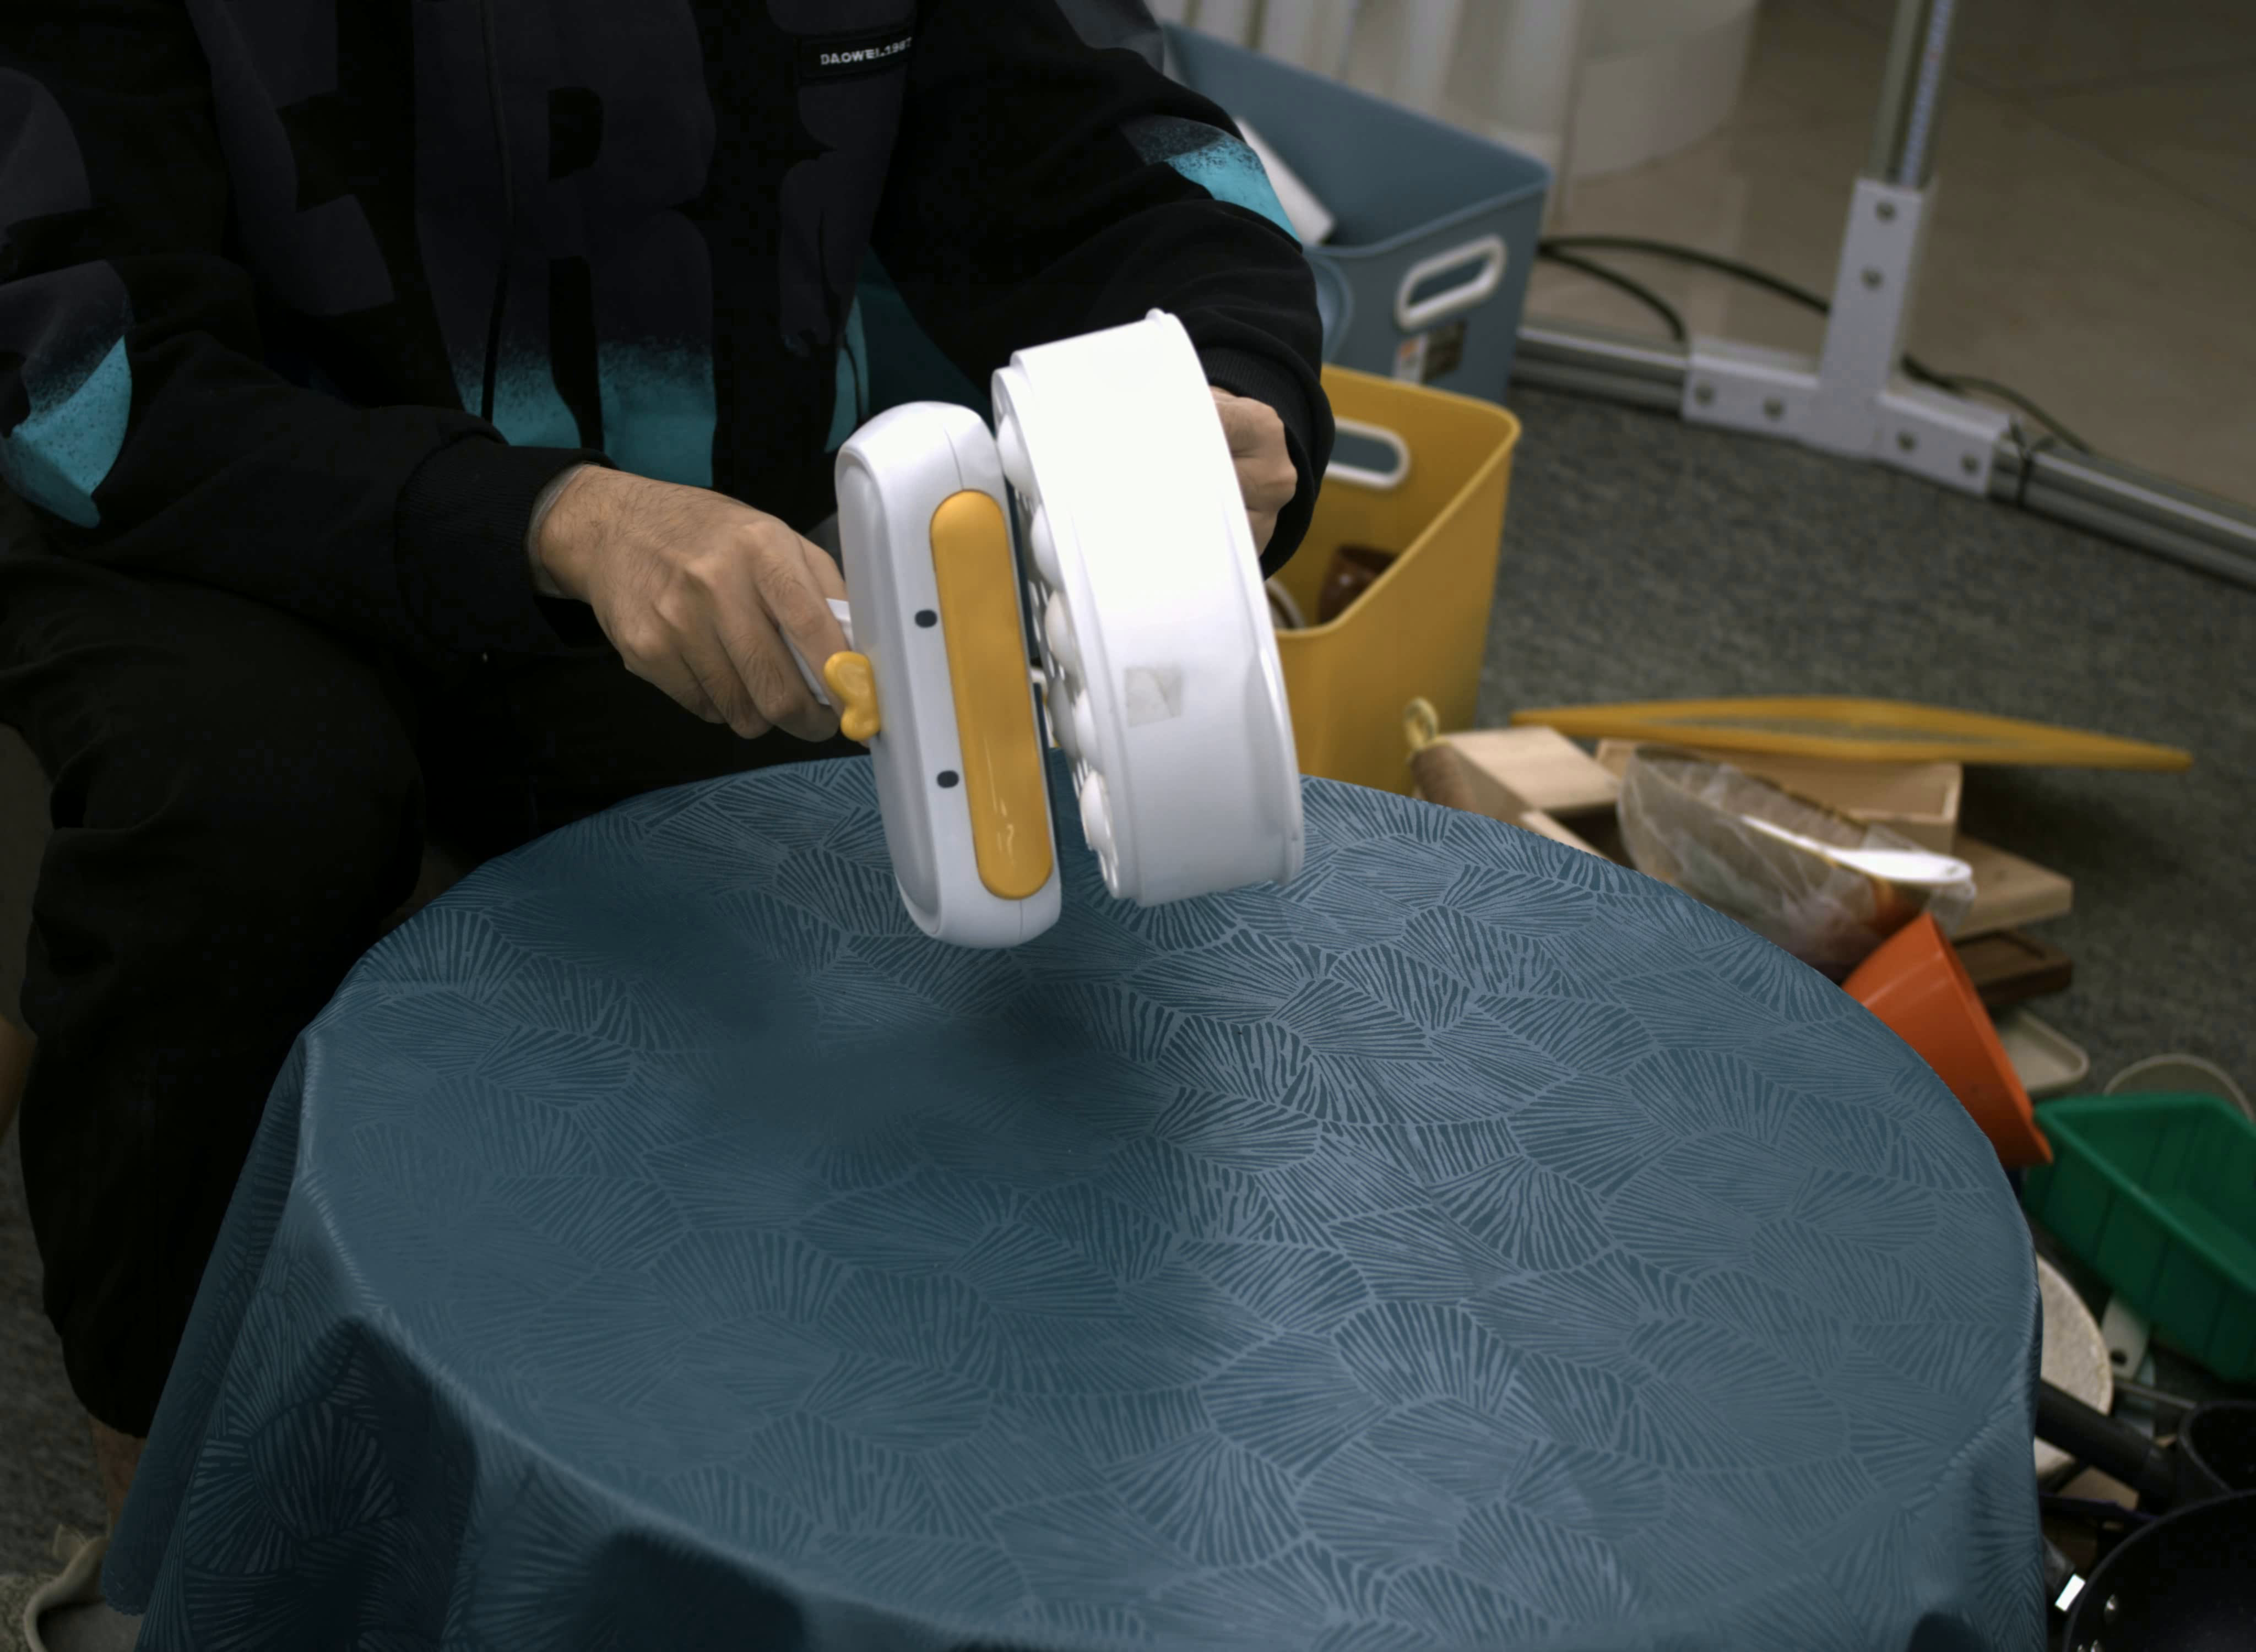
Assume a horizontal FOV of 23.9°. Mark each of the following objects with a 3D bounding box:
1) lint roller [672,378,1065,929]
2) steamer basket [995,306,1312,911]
[{"bbox_3d":[-0.097,-0.063,1.884,0.074,0.192,0.193,-21,16,-25],"label":"lint roller"},{"bbox_3d":[0.005,-0.070,1.796,0.069,0.201,0.232,-13,34,-5],"label":"steamer basket"}]
